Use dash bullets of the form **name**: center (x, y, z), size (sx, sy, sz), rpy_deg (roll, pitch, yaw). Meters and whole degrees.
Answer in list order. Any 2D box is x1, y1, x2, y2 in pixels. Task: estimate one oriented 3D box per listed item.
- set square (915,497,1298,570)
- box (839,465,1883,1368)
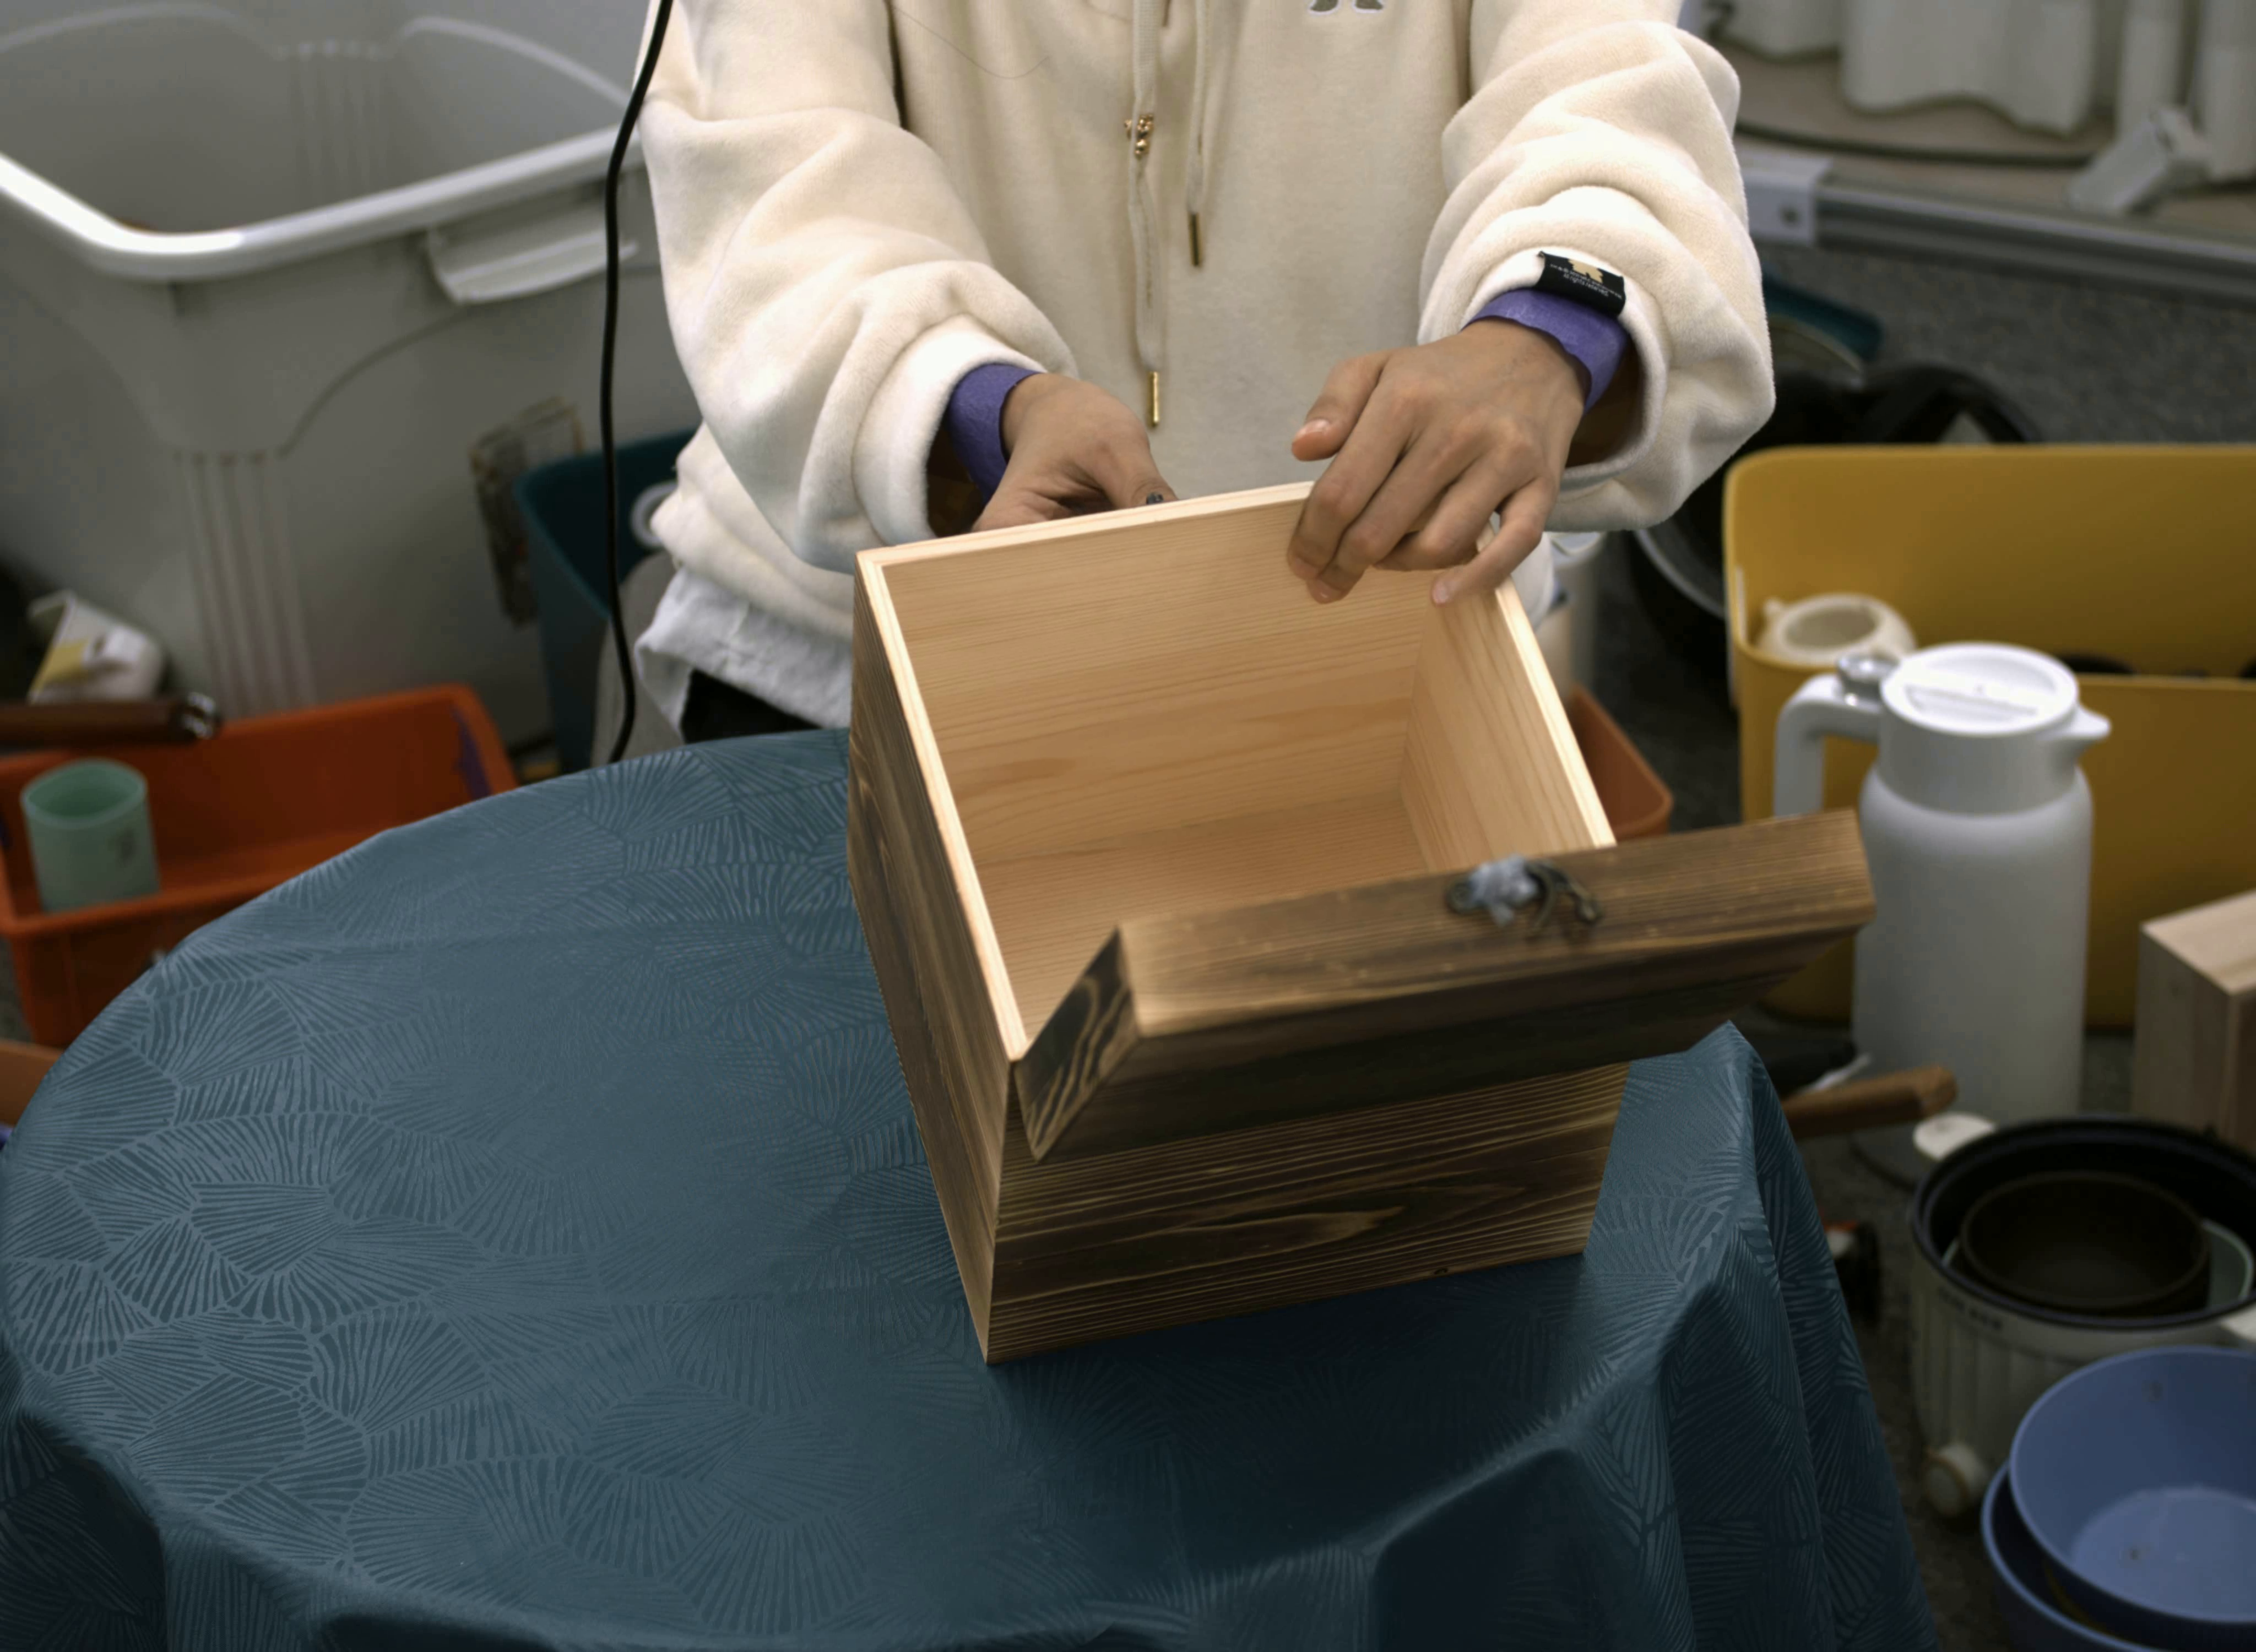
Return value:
- **set square**: center (-0.012, -0.091, 1.827), size (0.132, 0.006, 0.061), rpy_deg (-11, -5, -8)
- **box**: center (0.052, 0.007, 1.687), size (0.209, 0.369, 0.327), rpy_deg (-9, 53, -12)
